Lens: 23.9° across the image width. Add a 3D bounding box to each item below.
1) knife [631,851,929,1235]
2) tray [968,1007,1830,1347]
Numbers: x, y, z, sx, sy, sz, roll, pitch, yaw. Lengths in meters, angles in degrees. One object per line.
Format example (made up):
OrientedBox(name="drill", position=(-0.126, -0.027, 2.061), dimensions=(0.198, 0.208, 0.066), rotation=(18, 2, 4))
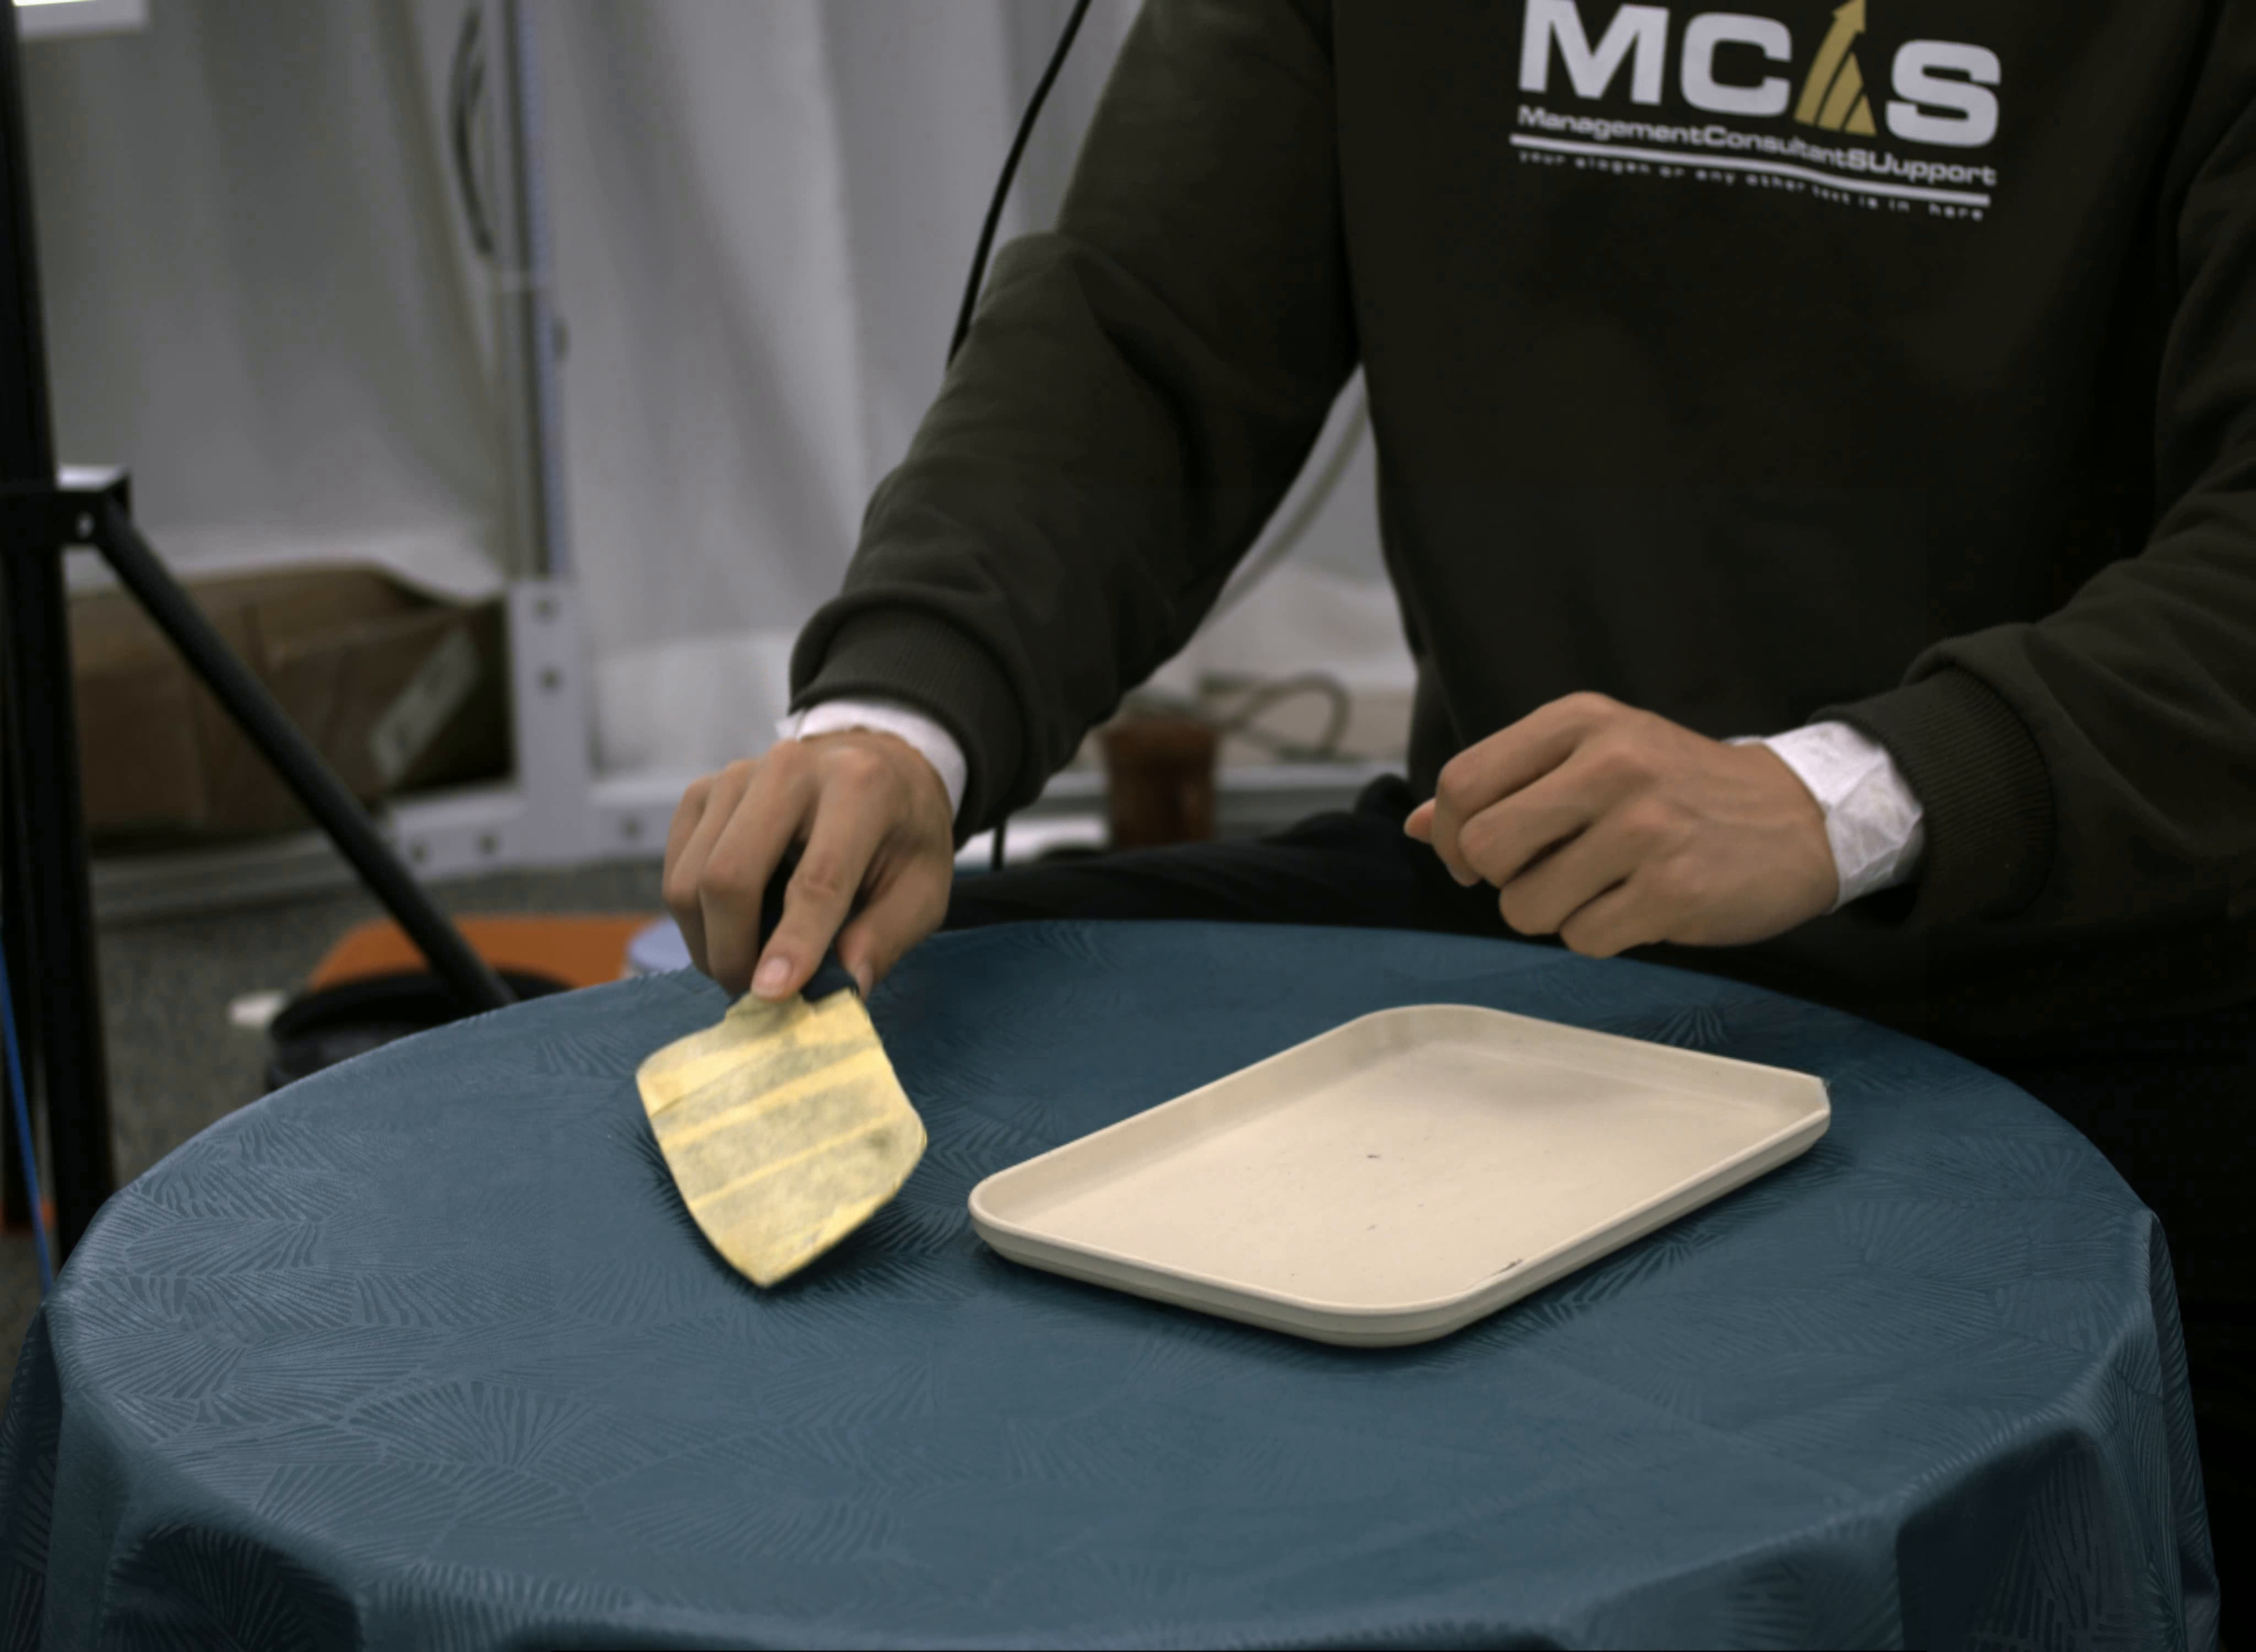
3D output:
OrientedBox(name="knife", position=(-0.112, 0.065, 1.623), dimensions=(0.080, 0.027, 0.293), rotation=(-21, 21, -3))
OrientedBox(name="tray", position=(0.082, 0.101, 1.543), dimensions=(0.175, 0.017, 0.234), rotation=(10, 20, 39))
